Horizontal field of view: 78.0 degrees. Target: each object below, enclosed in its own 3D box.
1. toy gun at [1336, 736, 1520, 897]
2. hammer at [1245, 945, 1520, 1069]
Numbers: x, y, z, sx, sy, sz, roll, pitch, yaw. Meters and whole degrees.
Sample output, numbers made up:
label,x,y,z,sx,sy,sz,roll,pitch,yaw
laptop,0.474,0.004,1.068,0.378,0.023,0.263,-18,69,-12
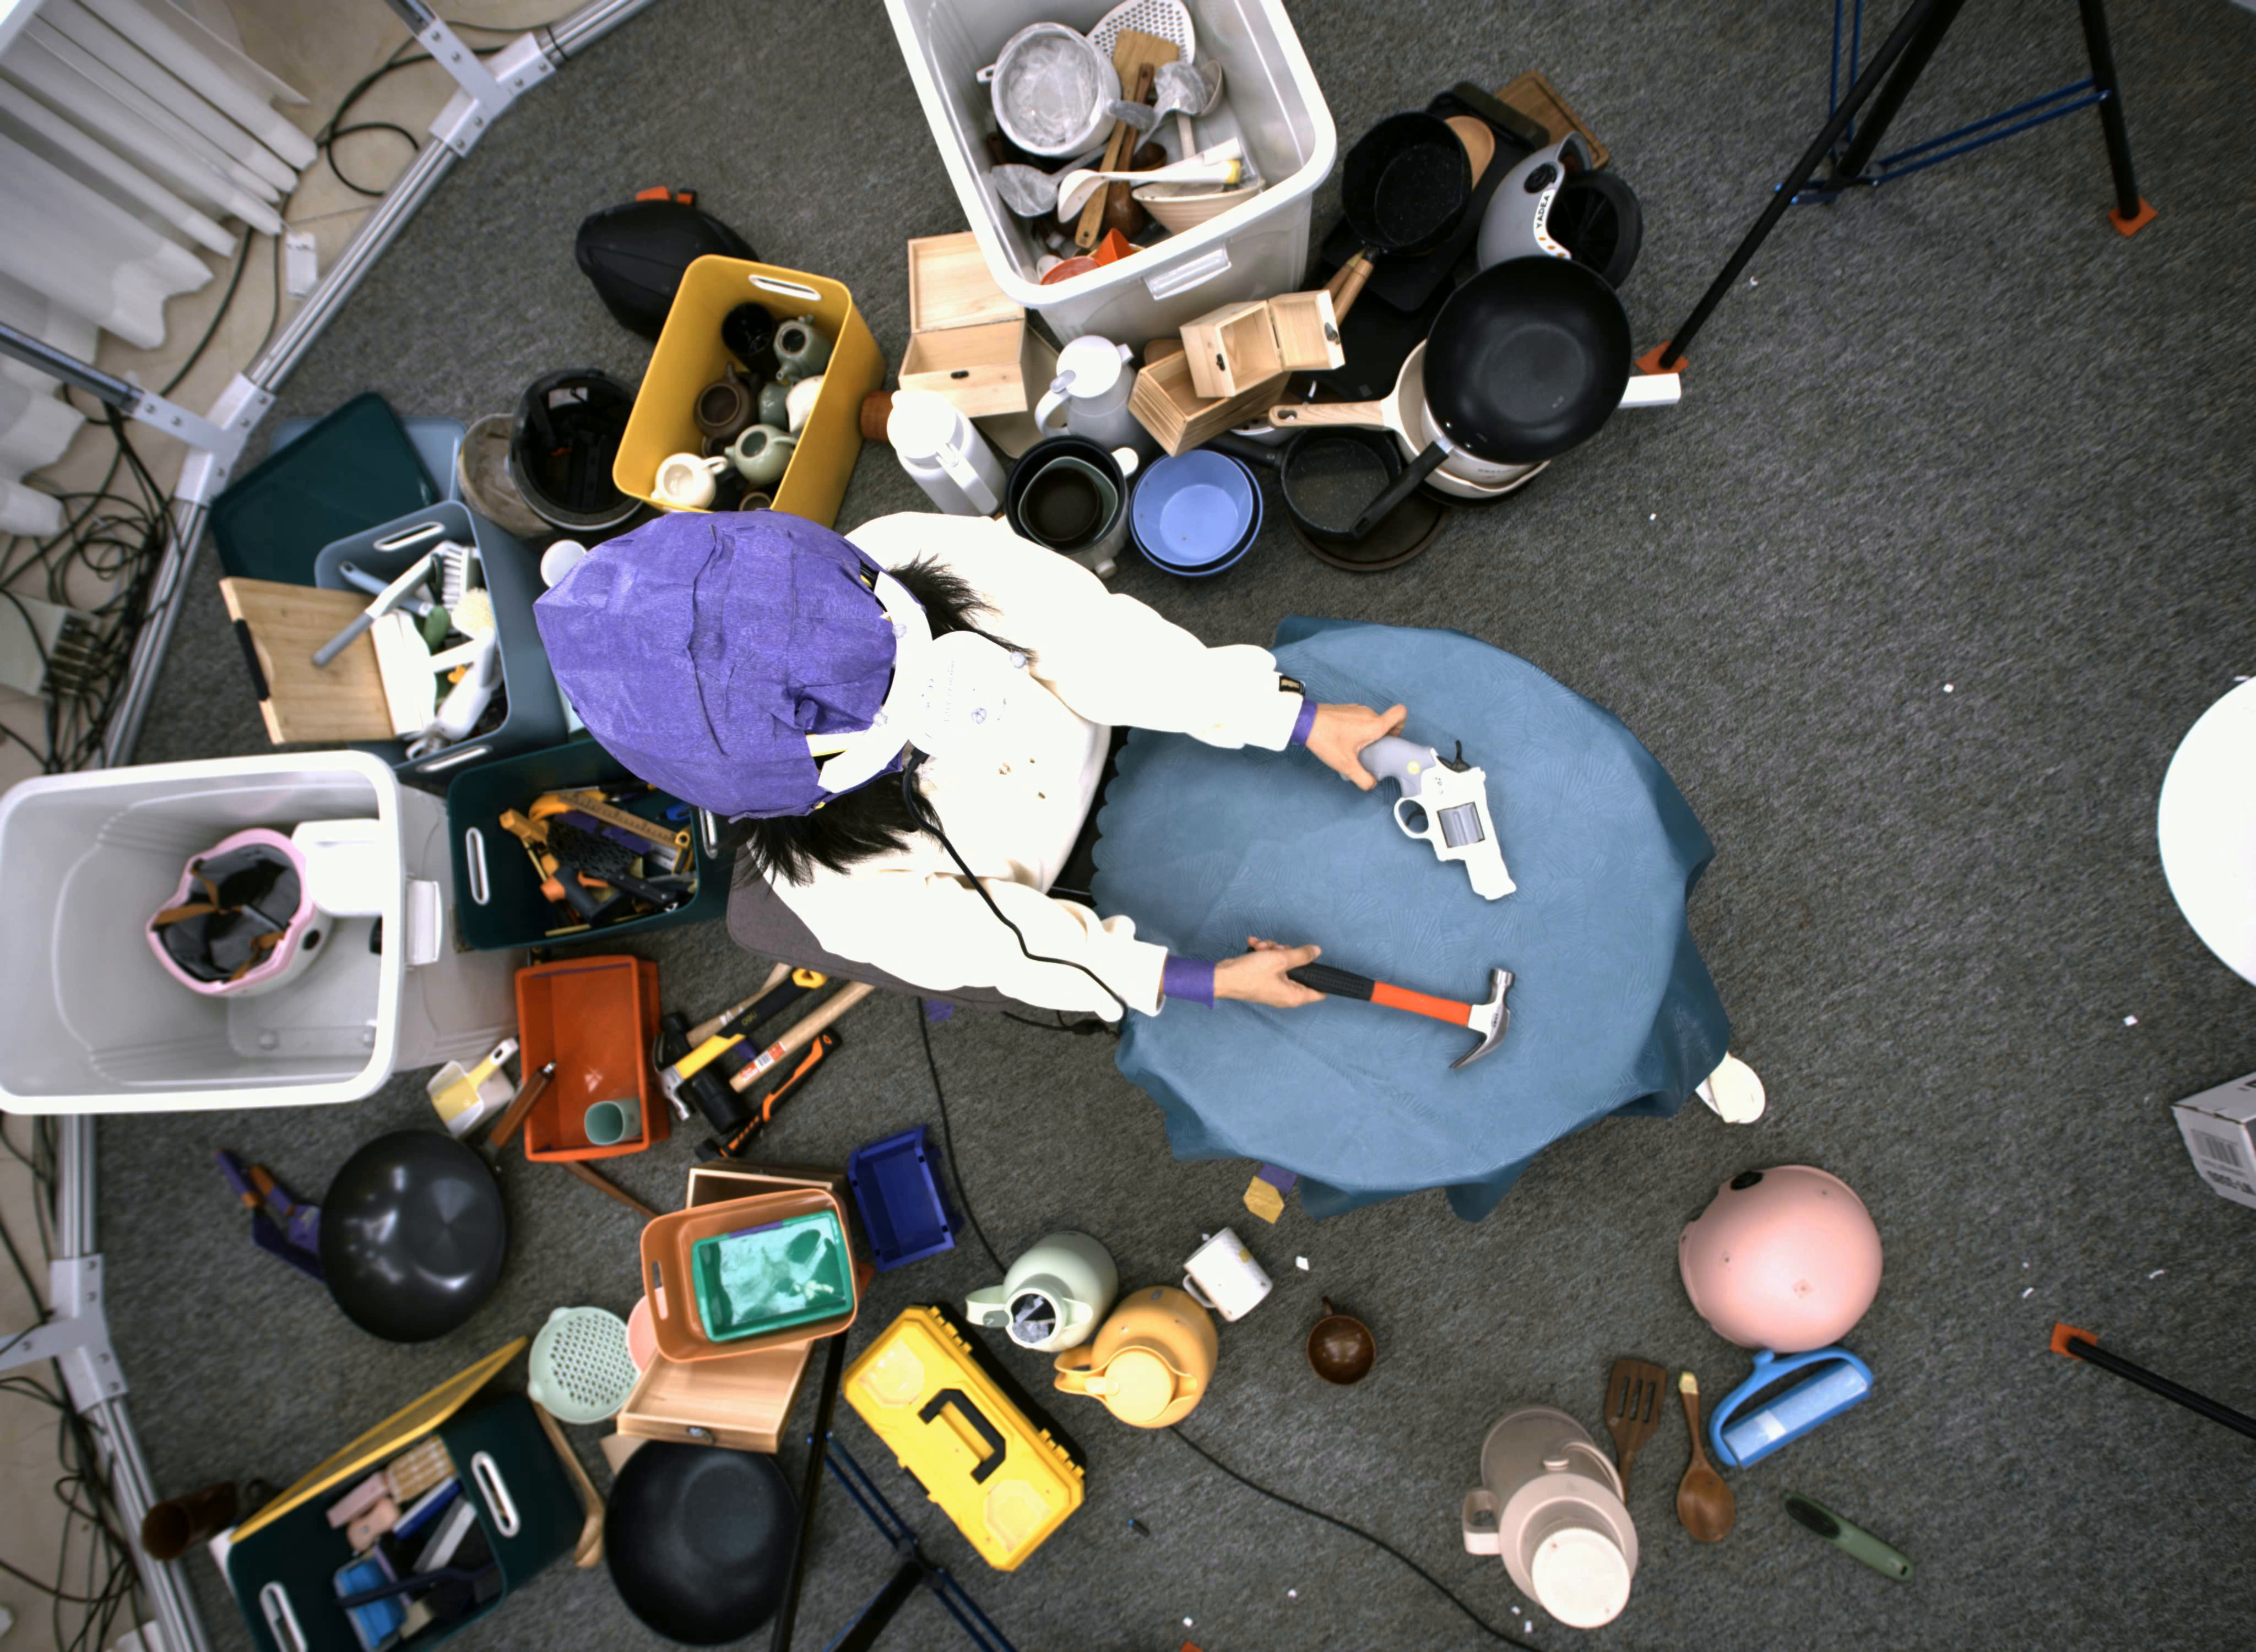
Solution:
label,x,y,z,sx,sy,sz,roll,pitch,yaw
toy gun,0.309,-0.014,1.429,0.143,0.038,0.210,-17,101,25
hammer,0.256,0.171,1.419,0.278,0.026,0.111,14,96,1
